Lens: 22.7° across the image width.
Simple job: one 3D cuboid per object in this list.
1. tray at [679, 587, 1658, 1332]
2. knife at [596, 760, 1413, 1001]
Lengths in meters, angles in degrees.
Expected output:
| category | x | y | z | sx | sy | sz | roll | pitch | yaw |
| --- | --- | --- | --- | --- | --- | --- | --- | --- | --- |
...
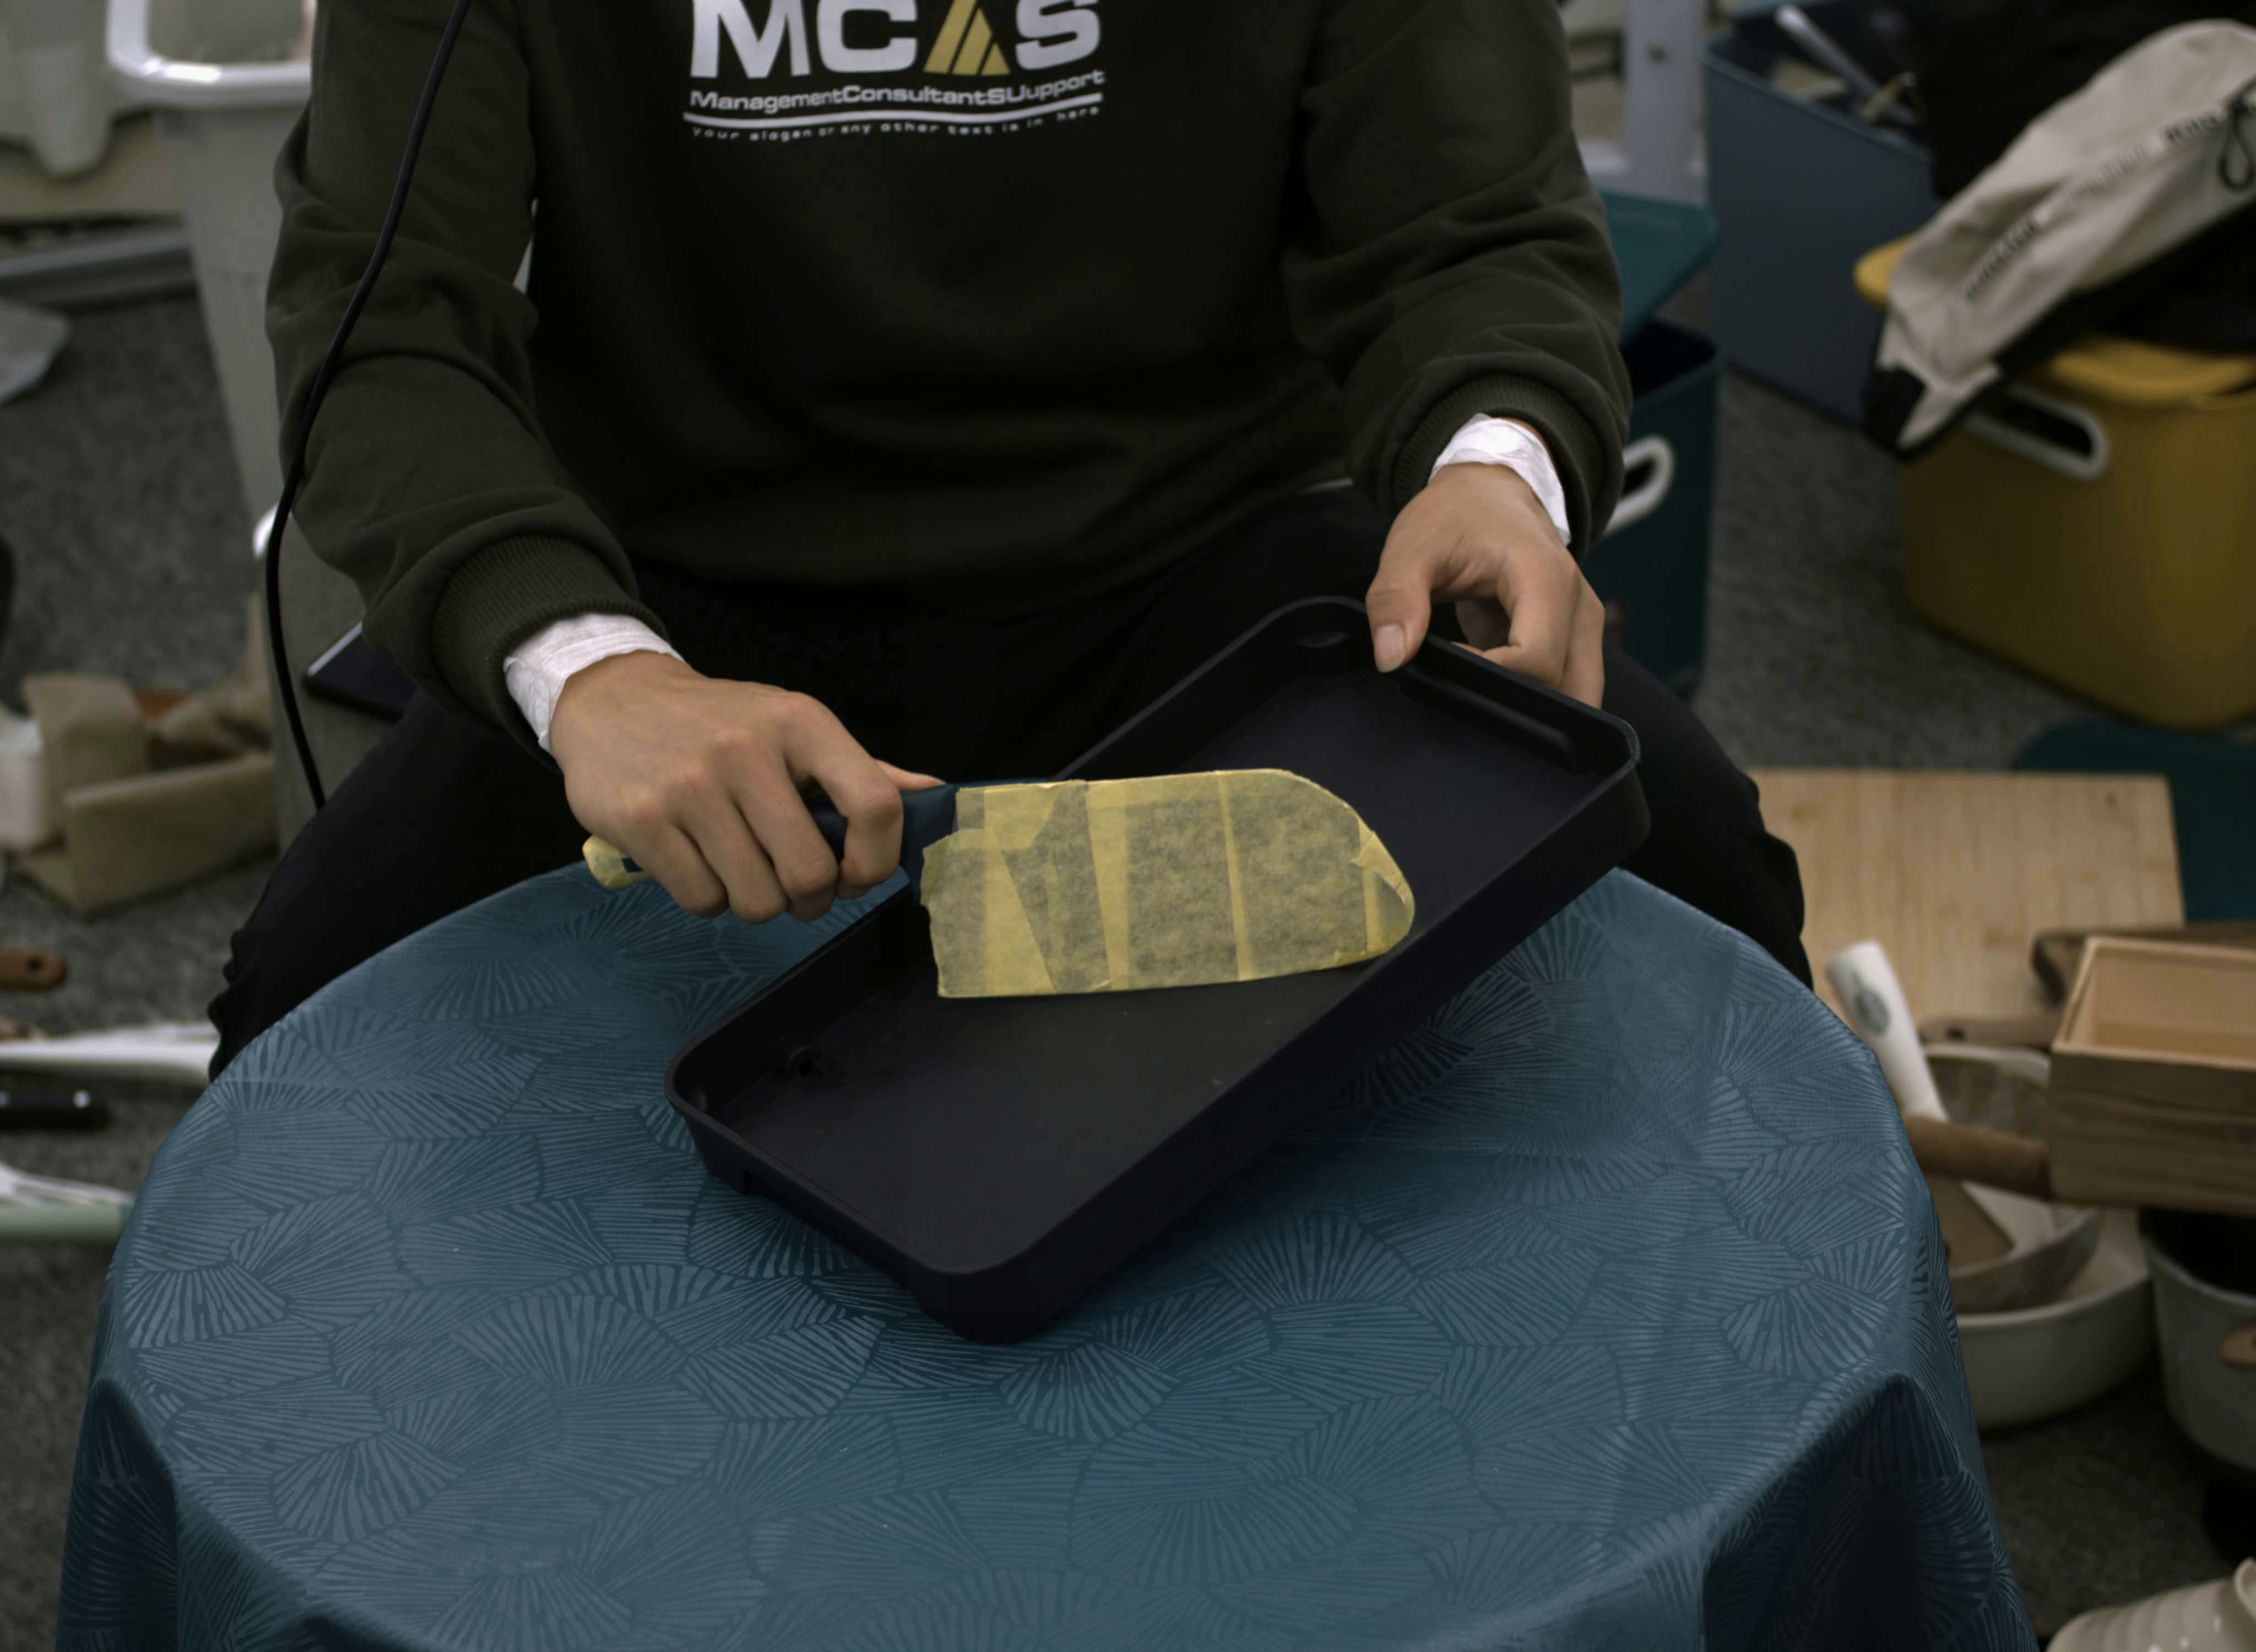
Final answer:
| category | x | y | z | sx | sy | sz | roll | pitch | yaw |
| --- | --- | --- | --- | --- | --- | --- | --- | --- | --- |
| tray | 0.016 | 0.038 | 1.894 | 0.322 | 0.036 | 0.184 | -38 | 39 | -26 |
| knife | -0.043 | 0.019 | 1.906 | 0.287 | 0.081 | 0.027 | -1 | 5 | 15 |
